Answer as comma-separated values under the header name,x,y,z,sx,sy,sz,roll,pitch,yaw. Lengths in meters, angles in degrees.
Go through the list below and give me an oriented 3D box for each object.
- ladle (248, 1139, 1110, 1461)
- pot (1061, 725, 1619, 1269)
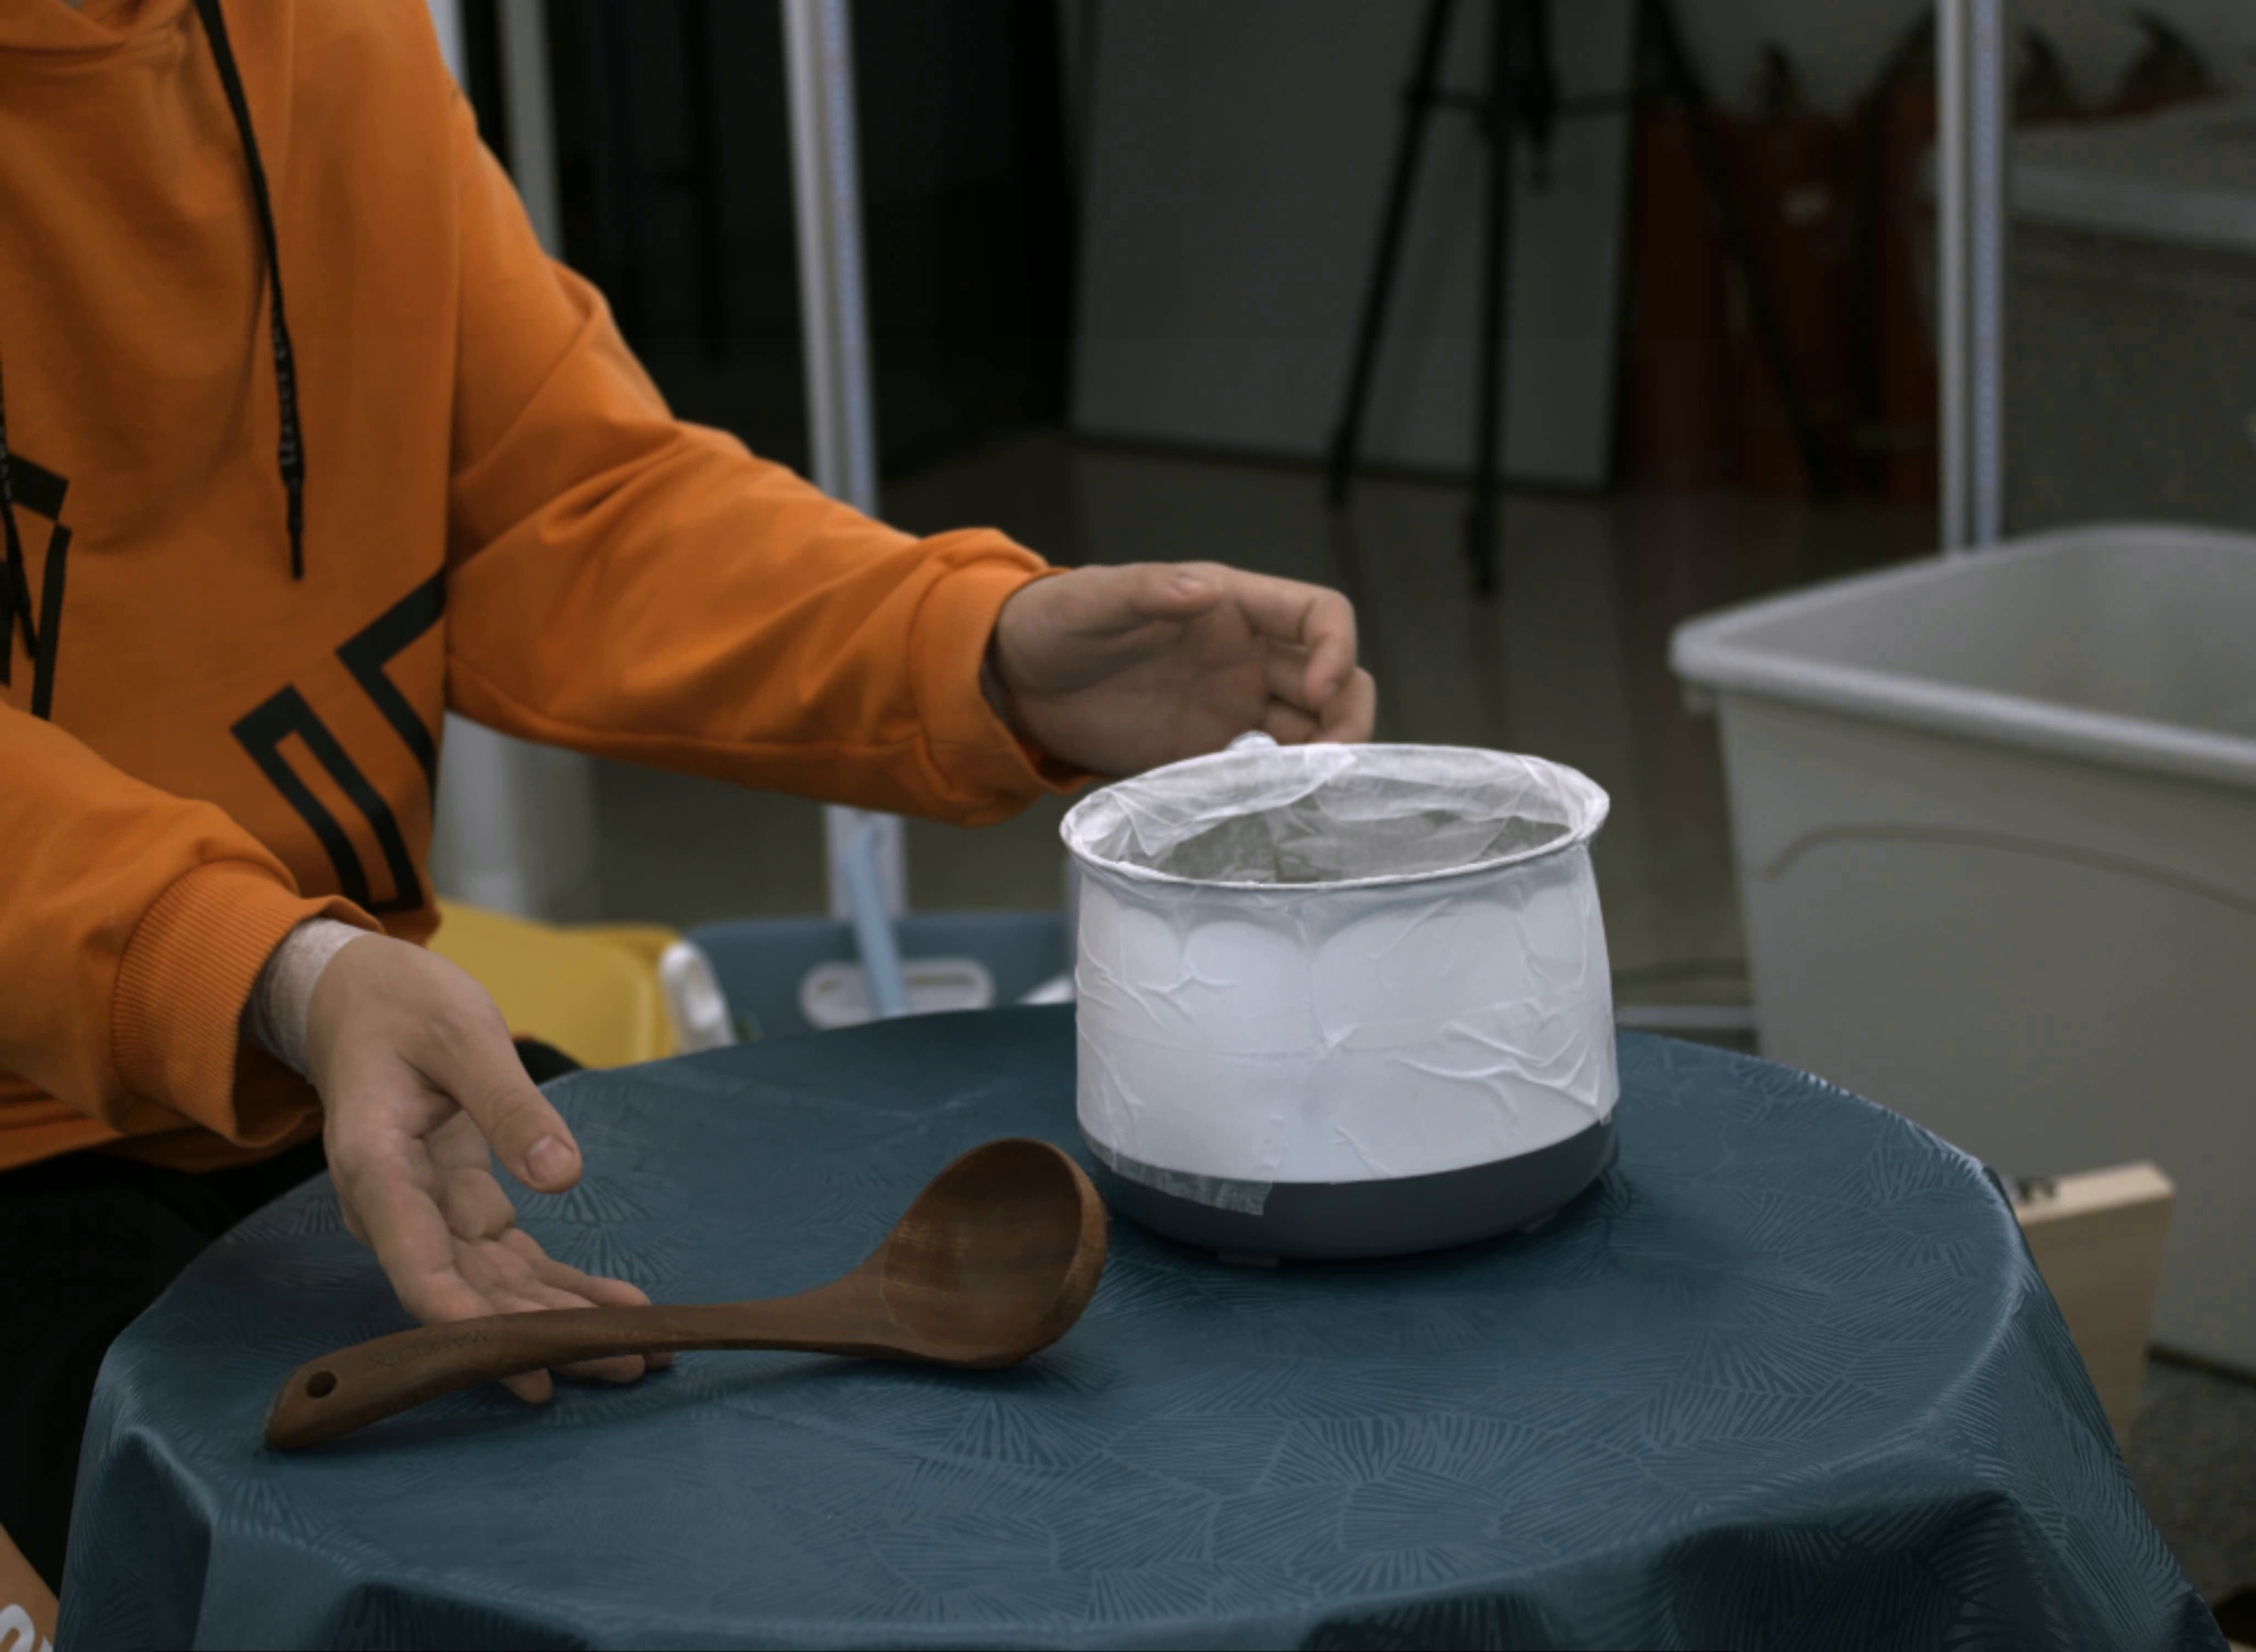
name,x,y,z,sx,sy,sz,roll,pitch,yaw
ladle,-0.131,0.142,1.598,0.255,0.065,0.077,-7,39,-12
pot,0.062,0.049,1.755,0.175,0.138,0.235,-7,14,-13
